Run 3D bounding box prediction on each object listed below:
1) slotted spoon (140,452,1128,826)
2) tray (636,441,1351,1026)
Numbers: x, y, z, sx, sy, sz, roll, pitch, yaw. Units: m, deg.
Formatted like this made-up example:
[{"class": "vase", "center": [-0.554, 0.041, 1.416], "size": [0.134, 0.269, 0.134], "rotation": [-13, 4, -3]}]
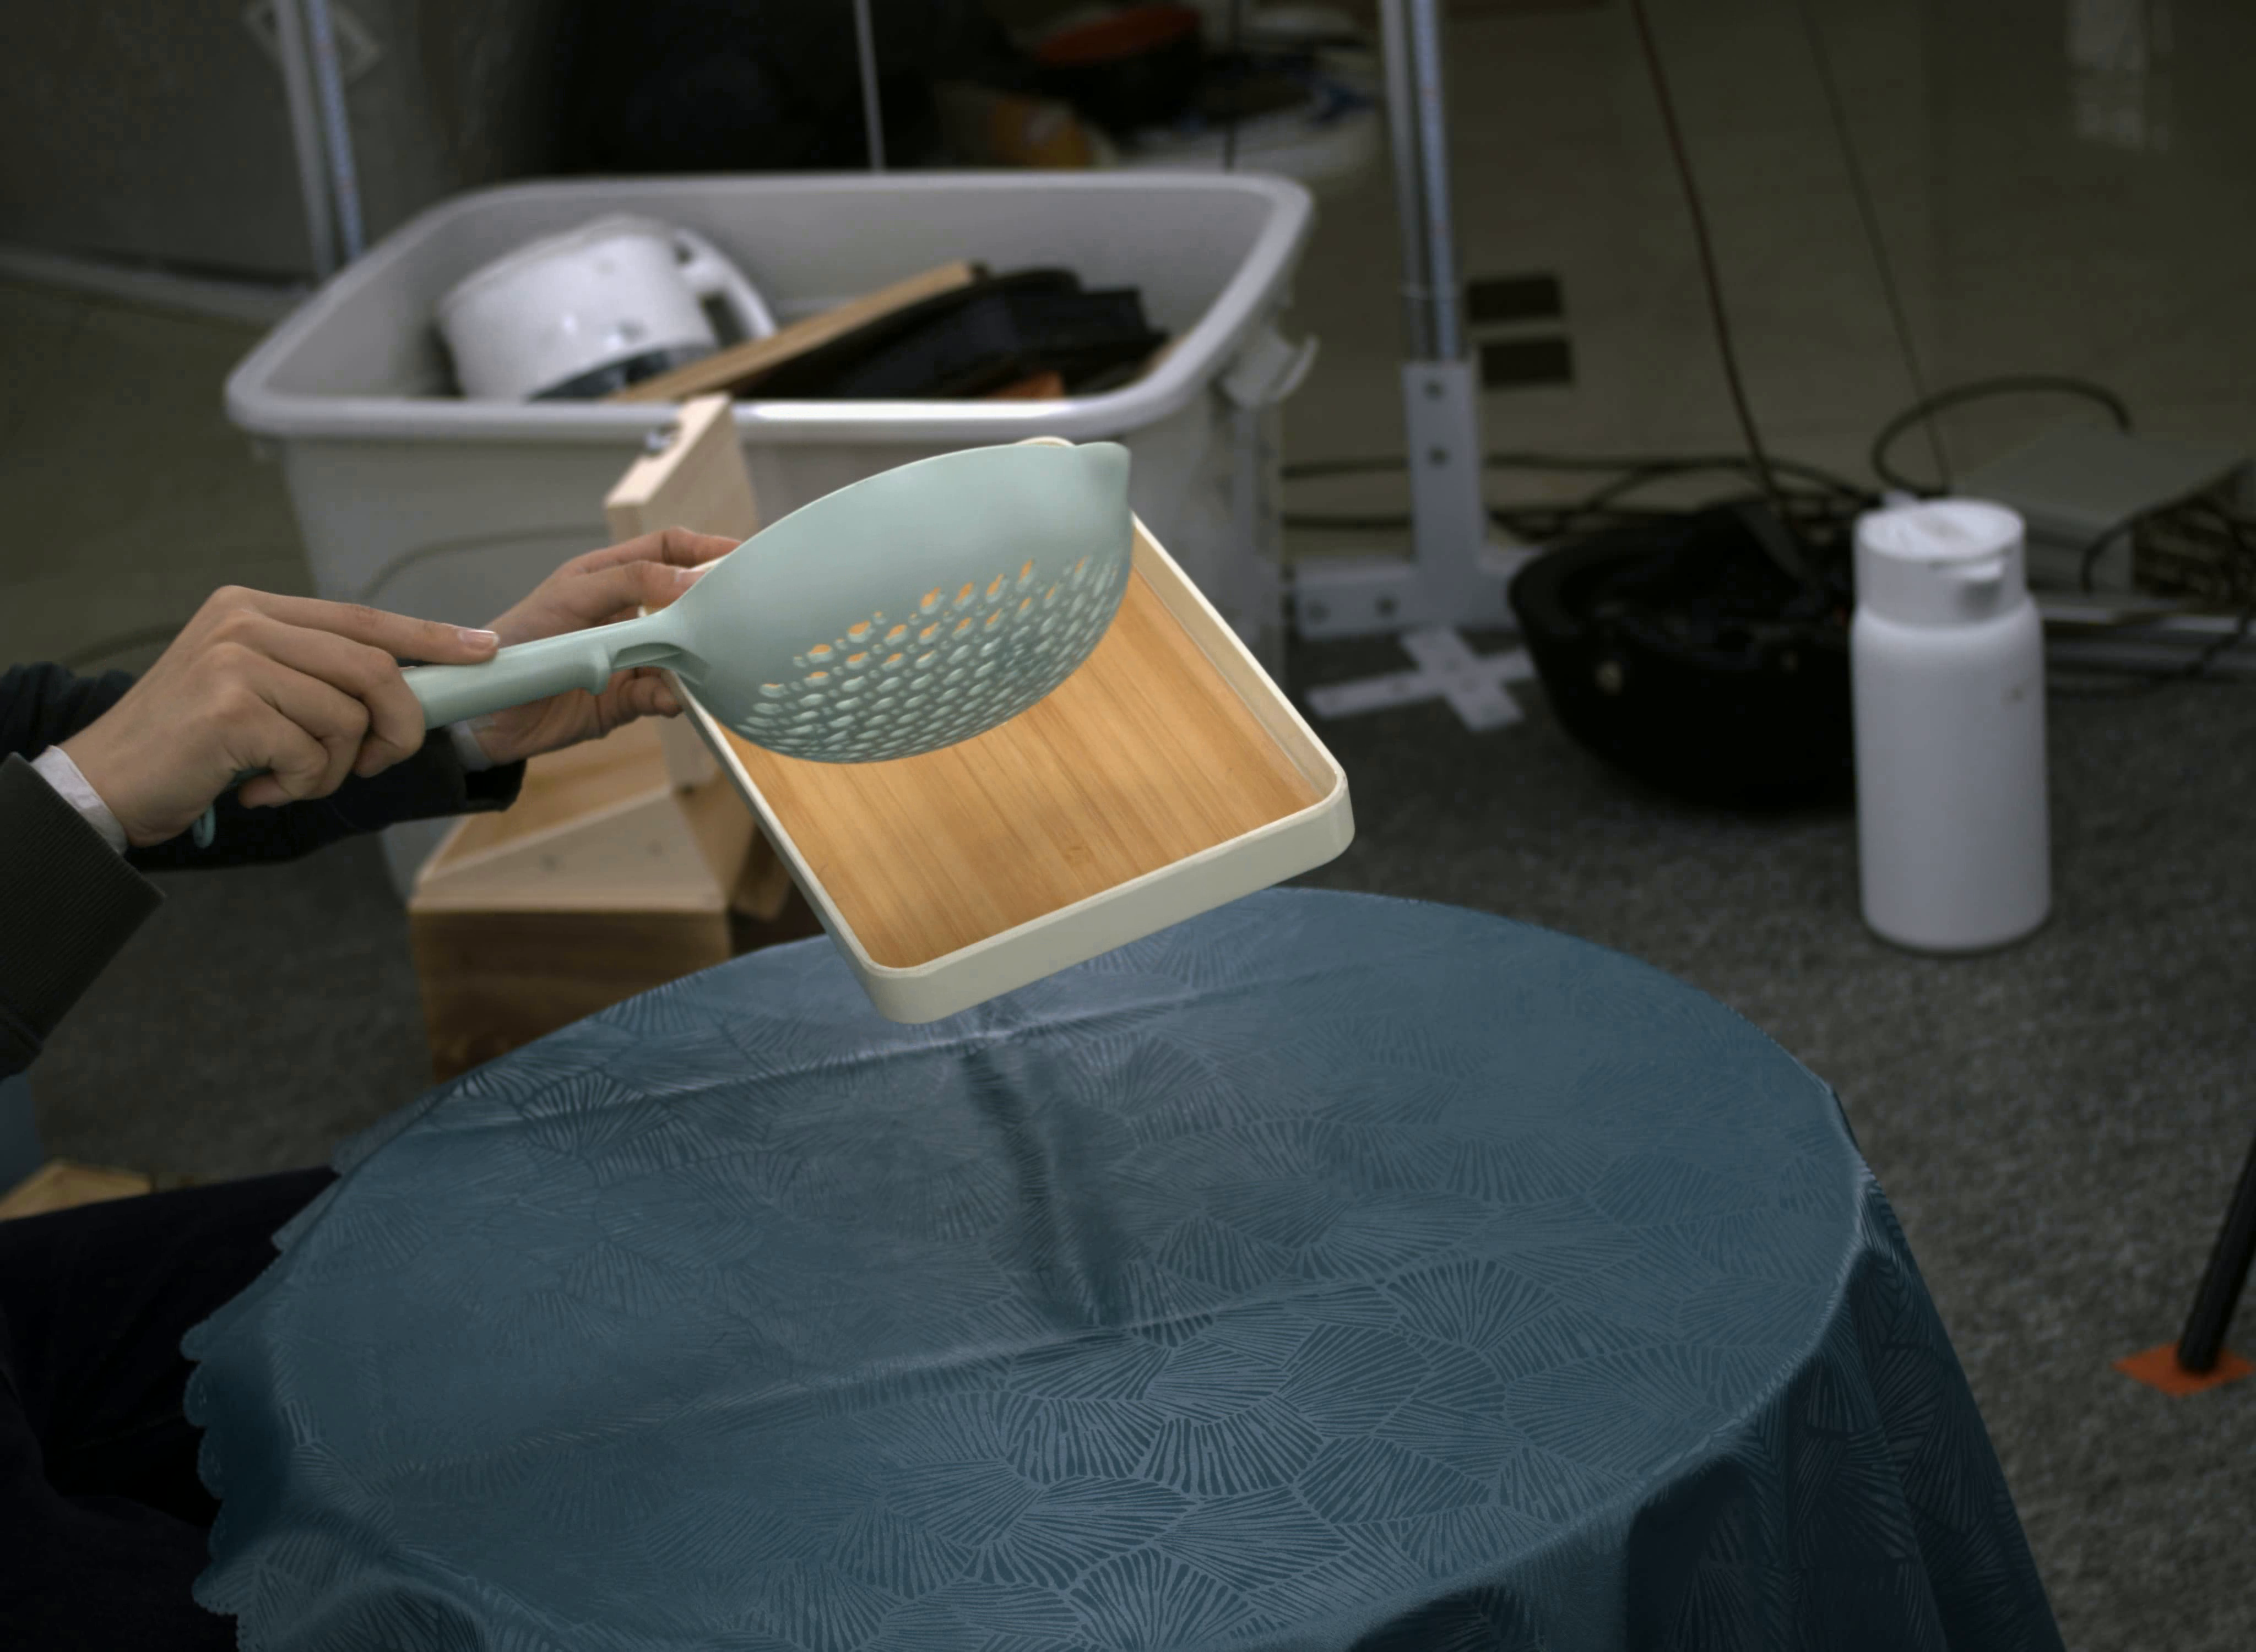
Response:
[{"class": "slotted spoon", "center": [-0.163, -0.053, 1.918], "size": [0.358, 0.171, 0.074], "rotation": [-6, 66, -21]}, {"class": "tray", "center": [-0.056, -0.041, 2.133], "size": [0.191, 0.028, 0.295], "rotation": [-22, 37, -11]}]
